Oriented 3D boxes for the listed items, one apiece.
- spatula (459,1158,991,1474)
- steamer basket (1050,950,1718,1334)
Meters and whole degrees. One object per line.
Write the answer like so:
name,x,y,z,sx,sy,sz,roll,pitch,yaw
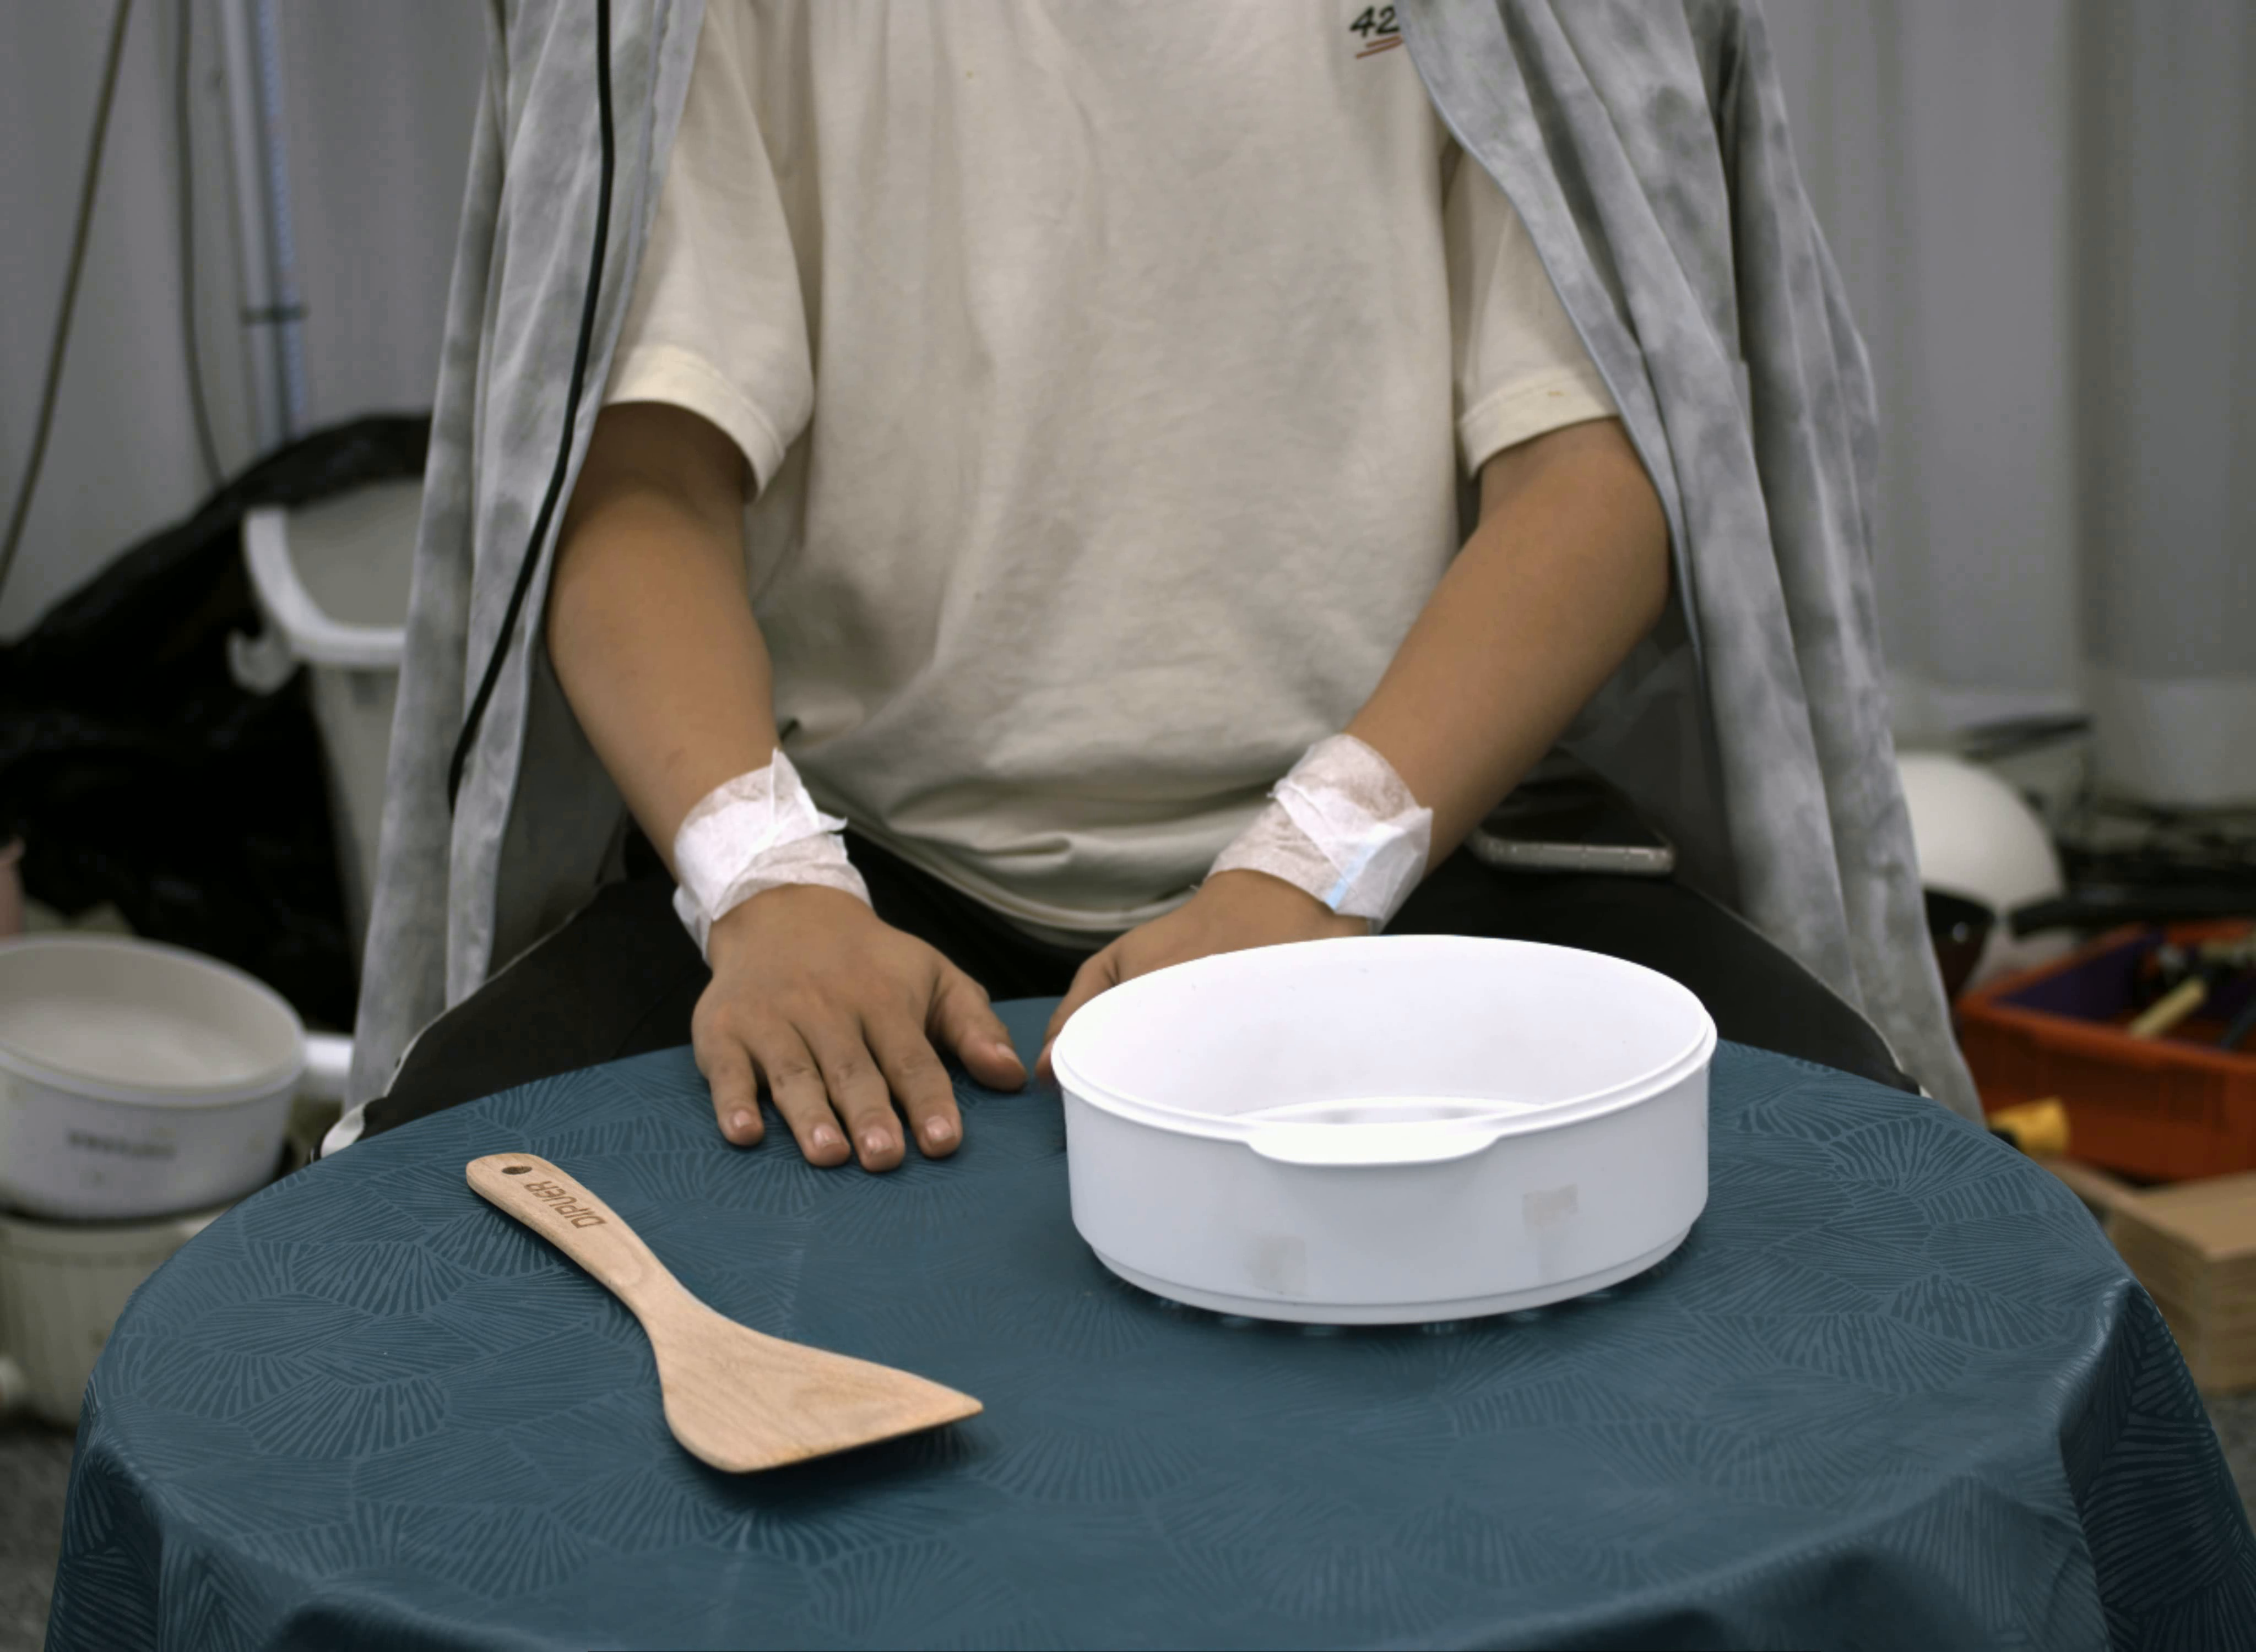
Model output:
spatula,-0.135,0.140,1.617,0.079,0.016,0.330,-9,16,-24
steamer basket,0.077,0.095,1.653,0.201,0.069,0.232,0,14,5
